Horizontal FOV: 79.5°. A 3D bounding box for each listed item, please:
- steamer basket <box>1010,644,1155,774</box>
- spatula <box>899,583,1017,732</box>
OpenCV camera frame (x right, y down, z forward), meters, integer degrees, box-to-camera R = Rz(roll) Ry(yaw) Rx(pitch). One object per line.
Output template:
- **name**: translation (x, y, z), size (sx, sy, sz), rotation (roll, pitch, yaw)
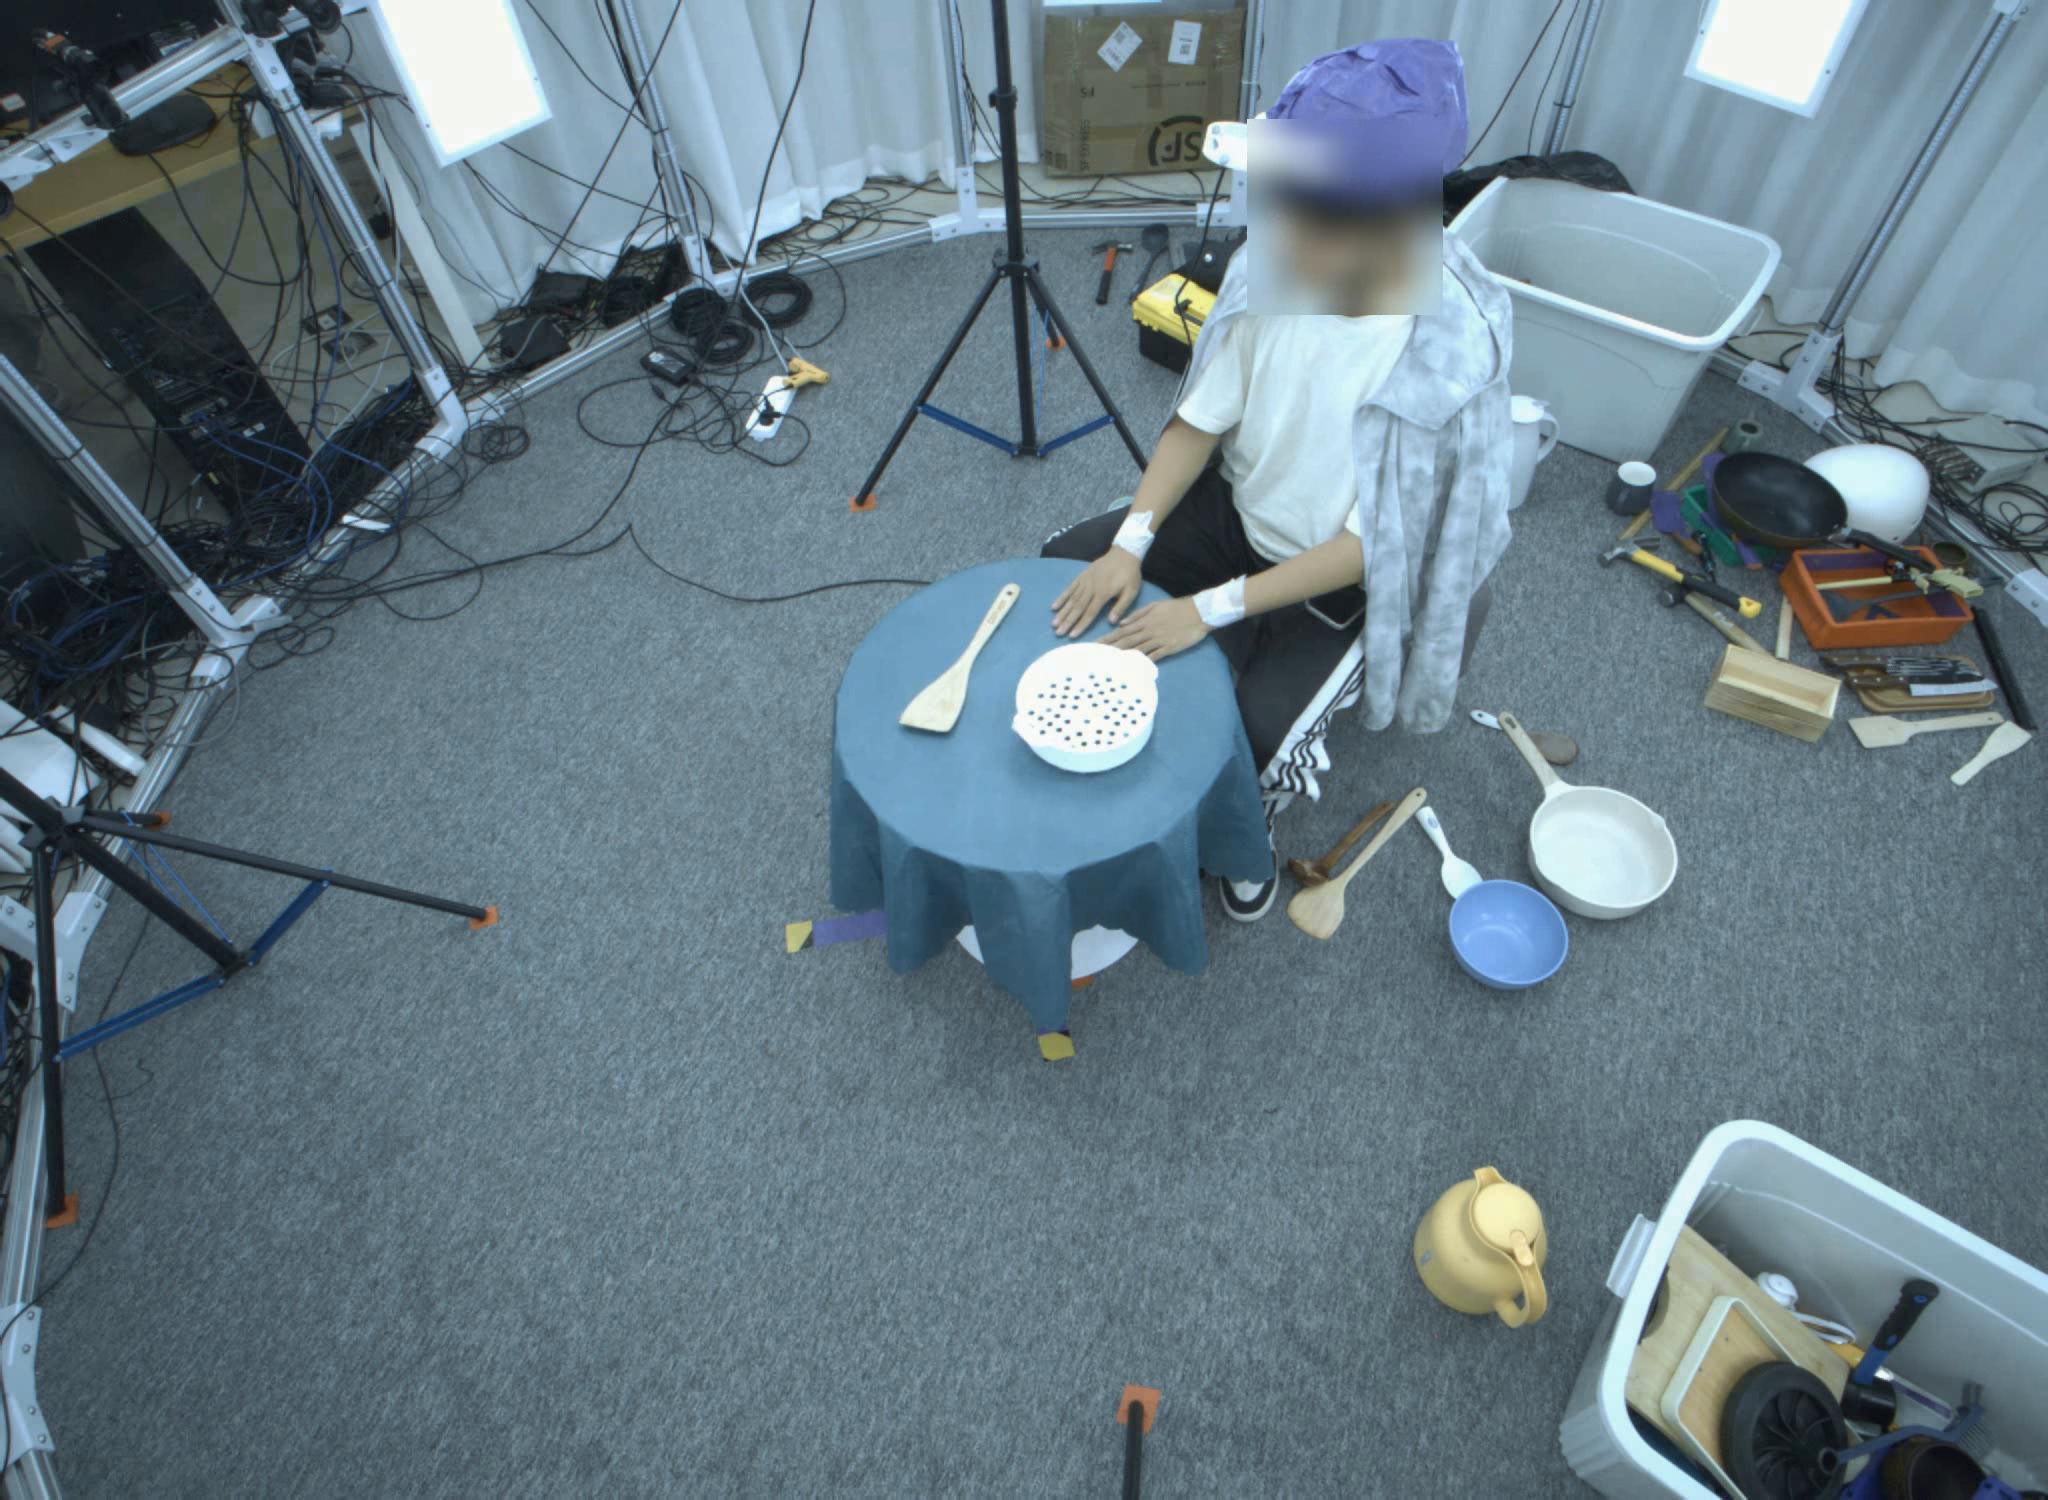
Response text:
- **steamer basket**: translation (0.086, -0.058, 1.787), size (0.232, 0.070, 0.198), rotation (-31, 61, -19)
- **spatula**: translation (-0.085, -0.147, 1.885), size (0.079, 0.017, 0.328), rotation (20, 58, 14)
